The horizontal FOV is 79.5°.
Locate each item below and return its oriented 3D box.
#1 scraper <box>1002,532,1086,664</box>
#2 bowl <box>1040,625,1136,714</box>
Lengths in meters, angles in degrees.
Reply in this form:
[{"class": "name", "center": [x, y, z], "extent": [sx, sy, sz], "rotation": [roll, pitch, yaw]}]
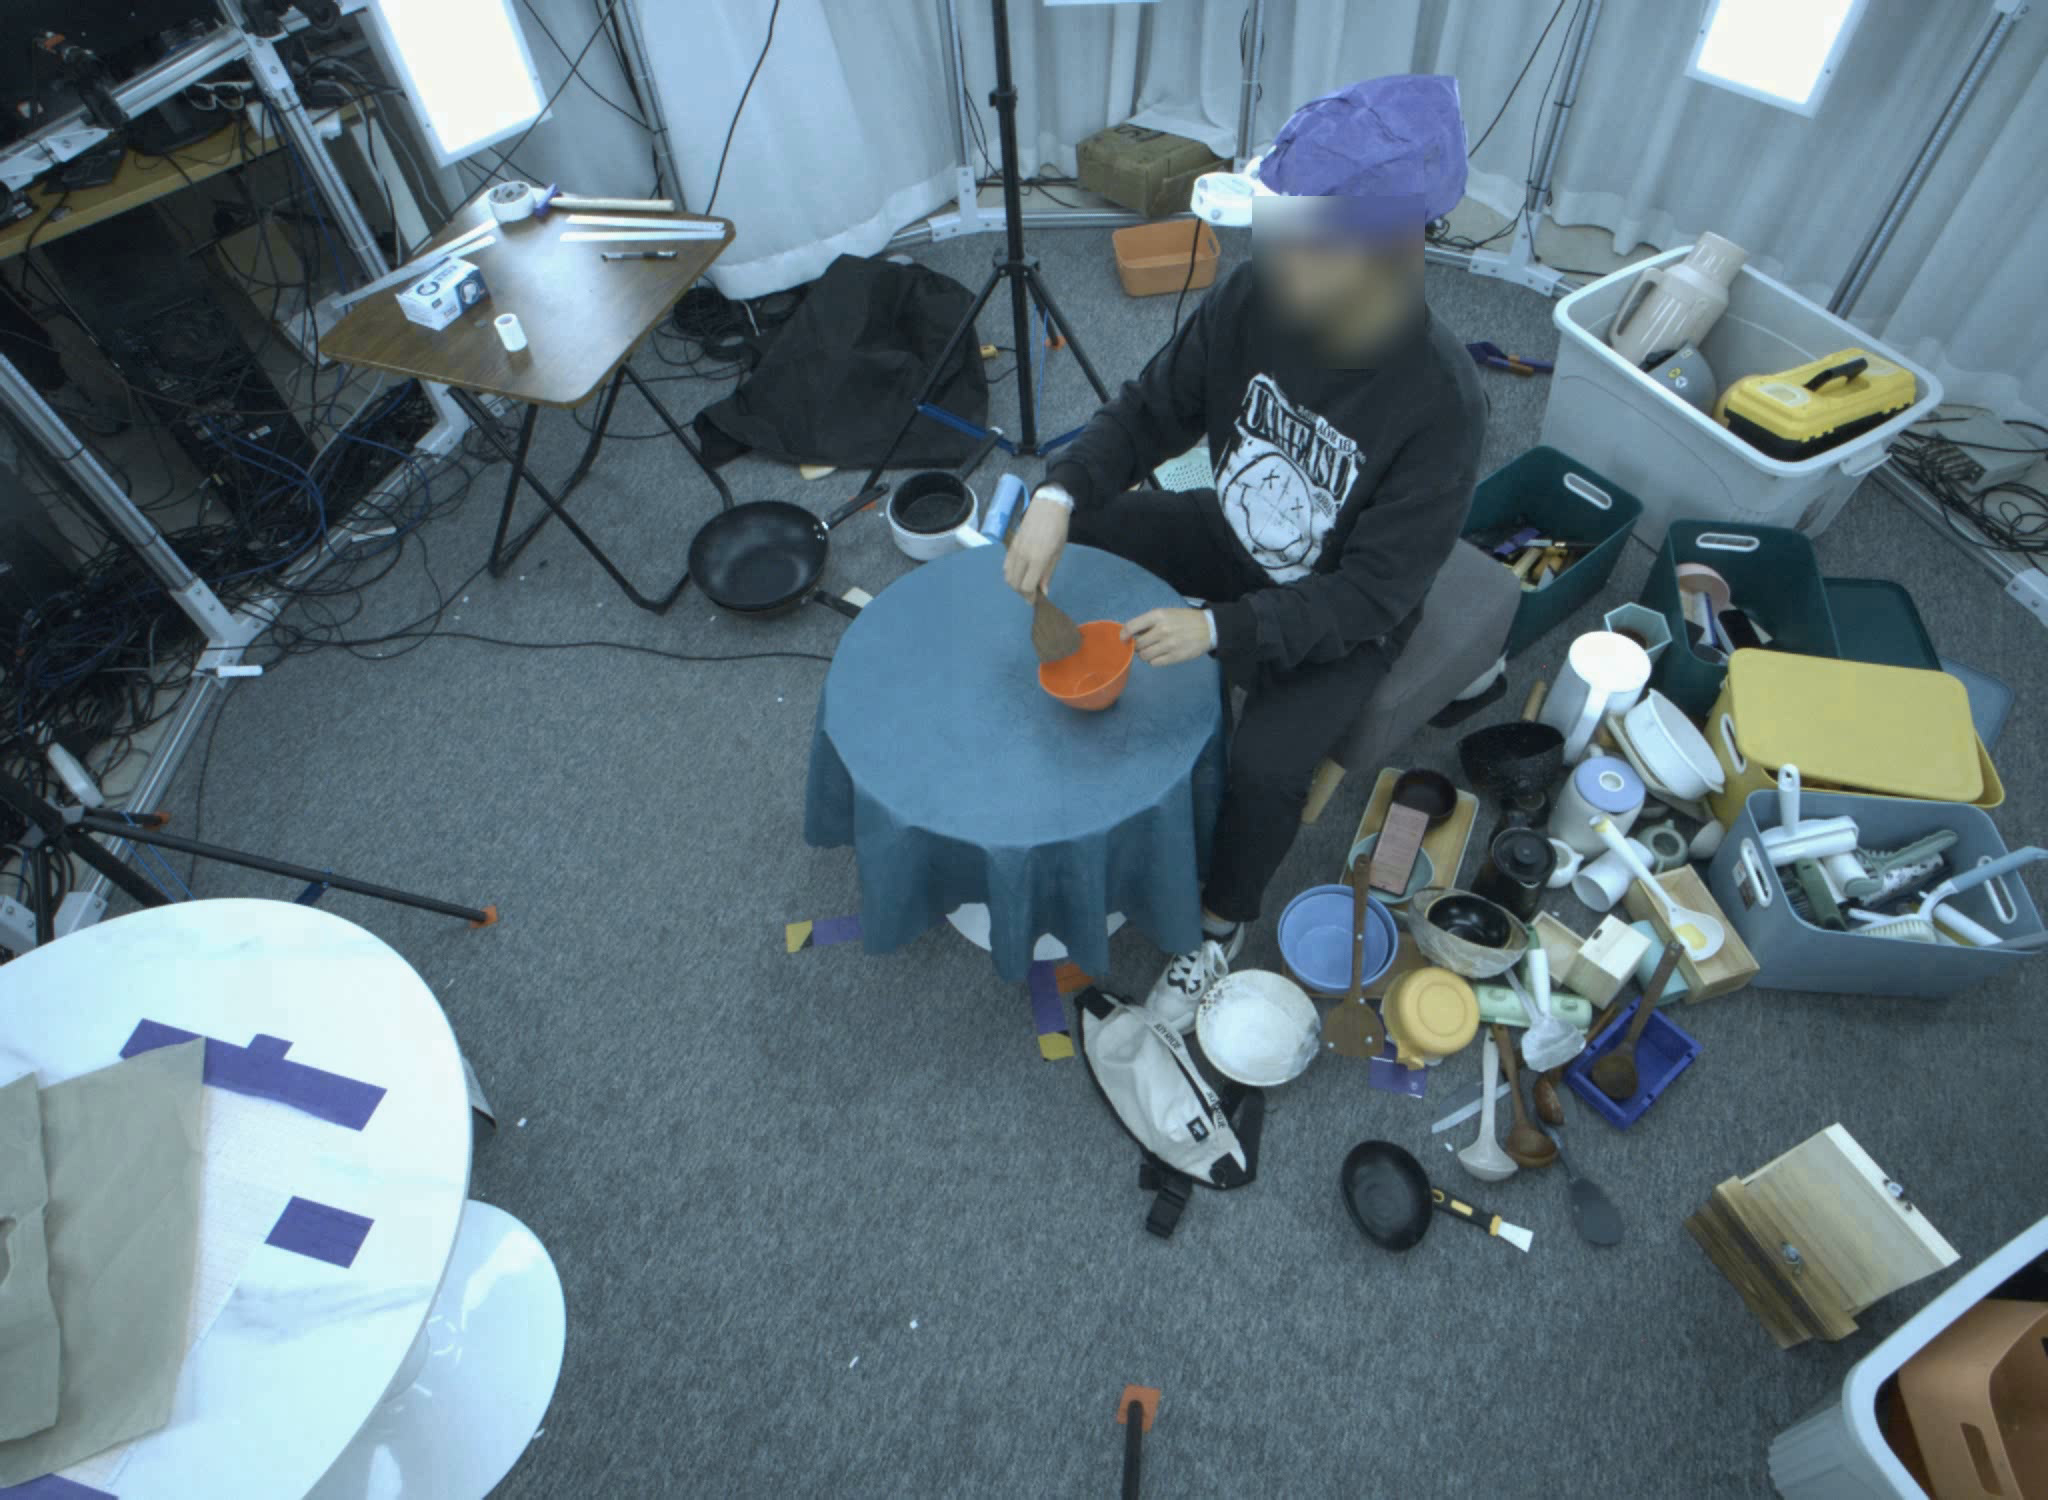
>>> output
[{"class": "scraper", "center": [0.018, -0.226, 1.802], "extent": [0.076, 0.011, 0.210], "rotation": [-22, 81, -11]}, {"class": "bowl", "center": [0.102, -0.103, 1.796], "extent": [0.147, 0.106, 0.146], "rotation": [-9, 55, 14]}]
